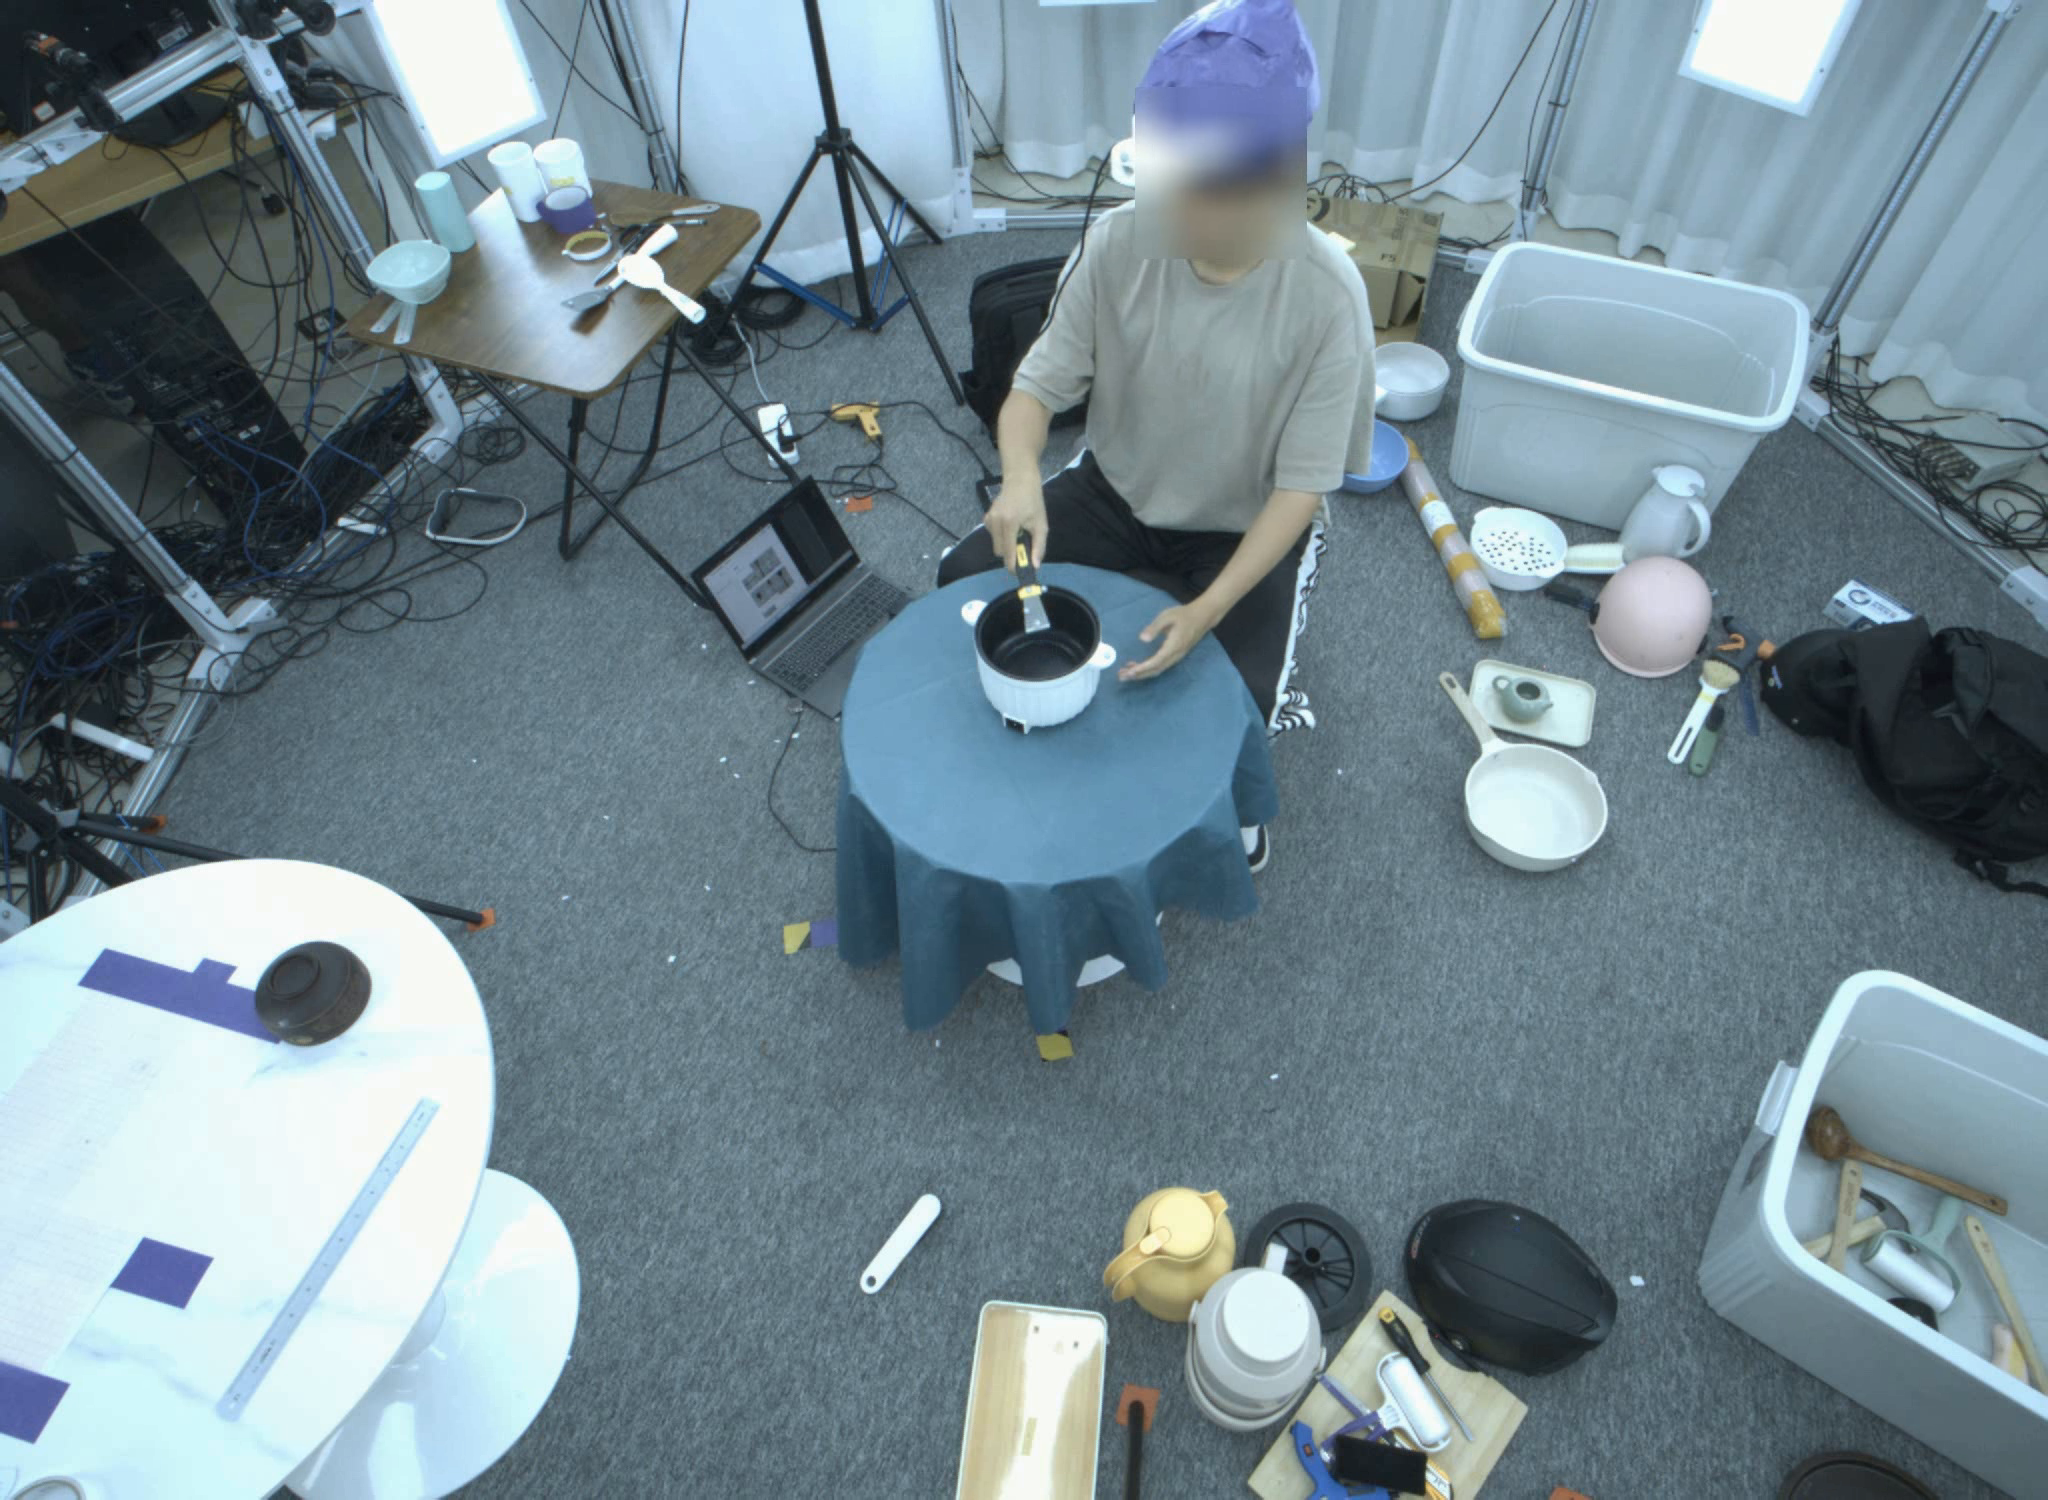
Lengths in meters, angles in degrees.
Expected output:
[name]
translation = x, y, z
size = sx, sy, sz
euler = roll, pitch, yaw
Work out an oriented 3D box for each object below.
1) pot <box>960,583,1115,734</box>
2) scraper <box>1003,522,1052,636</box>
[pot]
translation = 0.023, -0.135, 1.793
size = 0.237, 0.144, 0.190
euler = 21, 63, 16
[scraper]
translation = 0.001, -0.239, 1.698
size = 0.038, 0.015, 0.169
euler = -16, 76, 9
